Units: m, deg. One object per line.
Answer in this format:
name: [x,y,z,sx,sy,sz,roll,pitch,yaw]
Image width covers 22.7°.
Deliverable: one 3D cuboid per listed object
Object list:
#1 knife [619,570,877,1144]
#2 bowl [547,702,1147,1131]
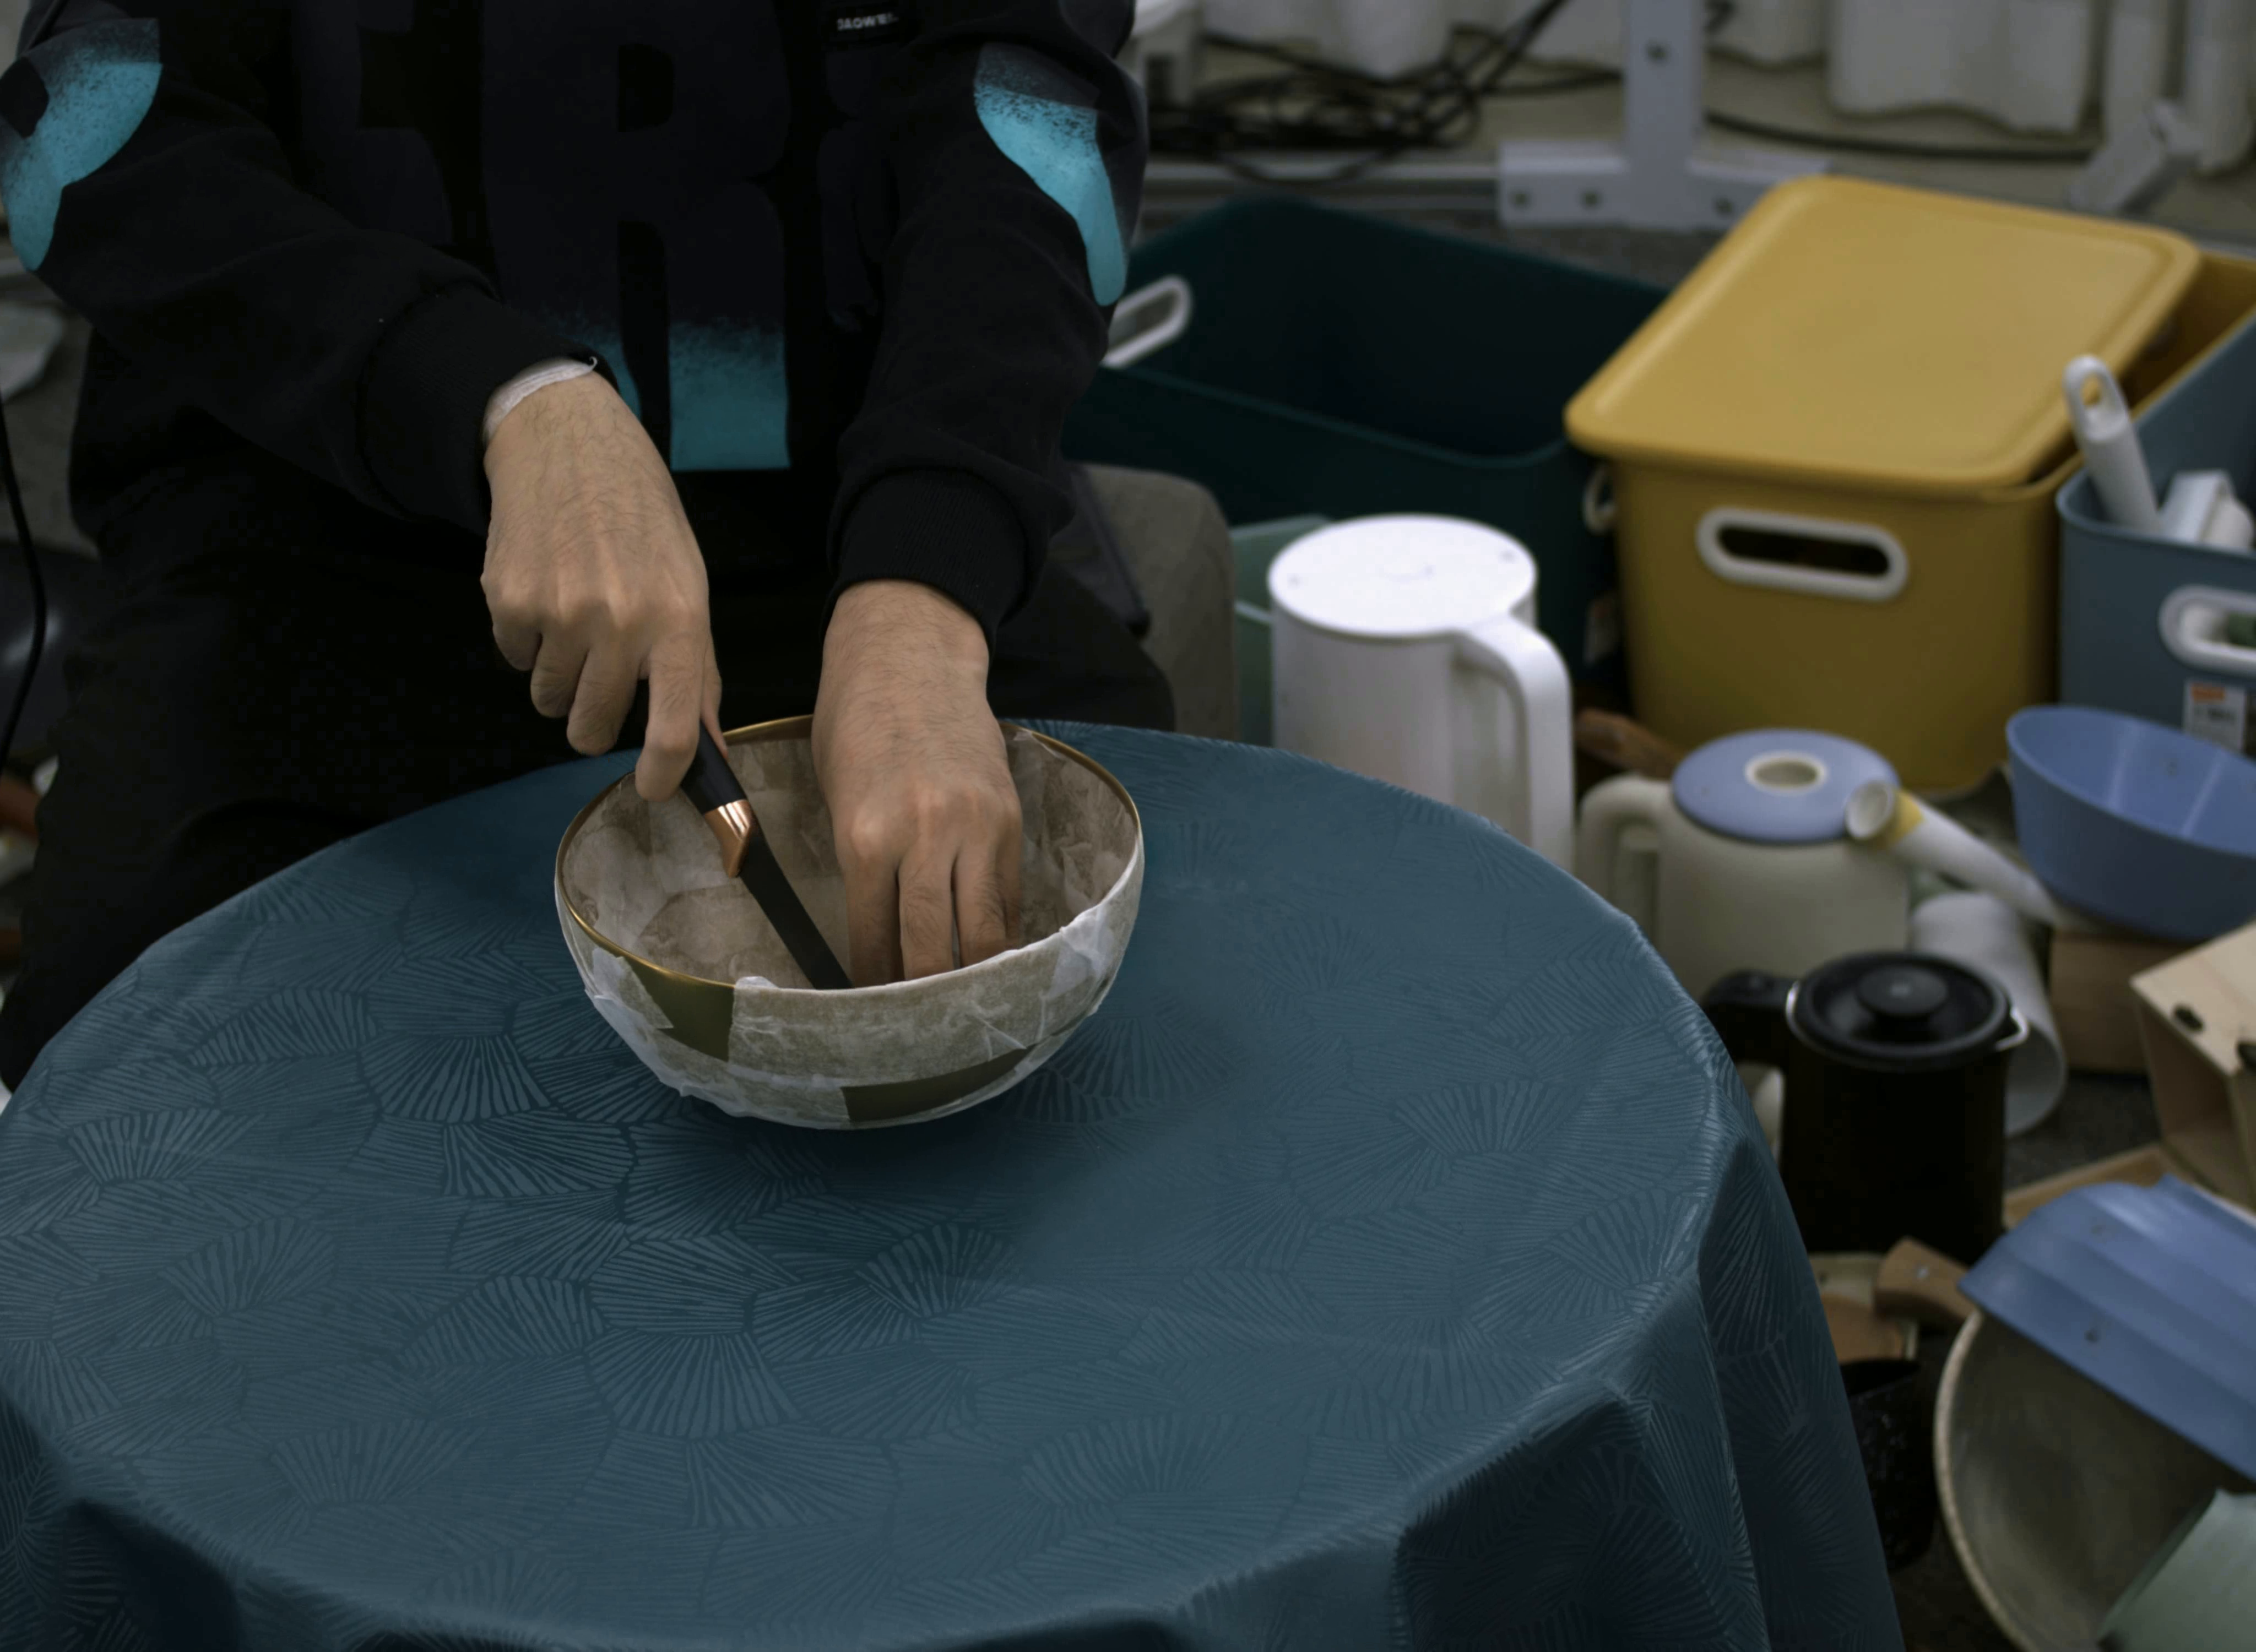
knife: [-0.126,0.009,1.922,0.026,0.017,0.228,-25,68,-2]
bowl: [-0.091,0.042,1.922,0.213,0.093,0.218,-3,28,2]
